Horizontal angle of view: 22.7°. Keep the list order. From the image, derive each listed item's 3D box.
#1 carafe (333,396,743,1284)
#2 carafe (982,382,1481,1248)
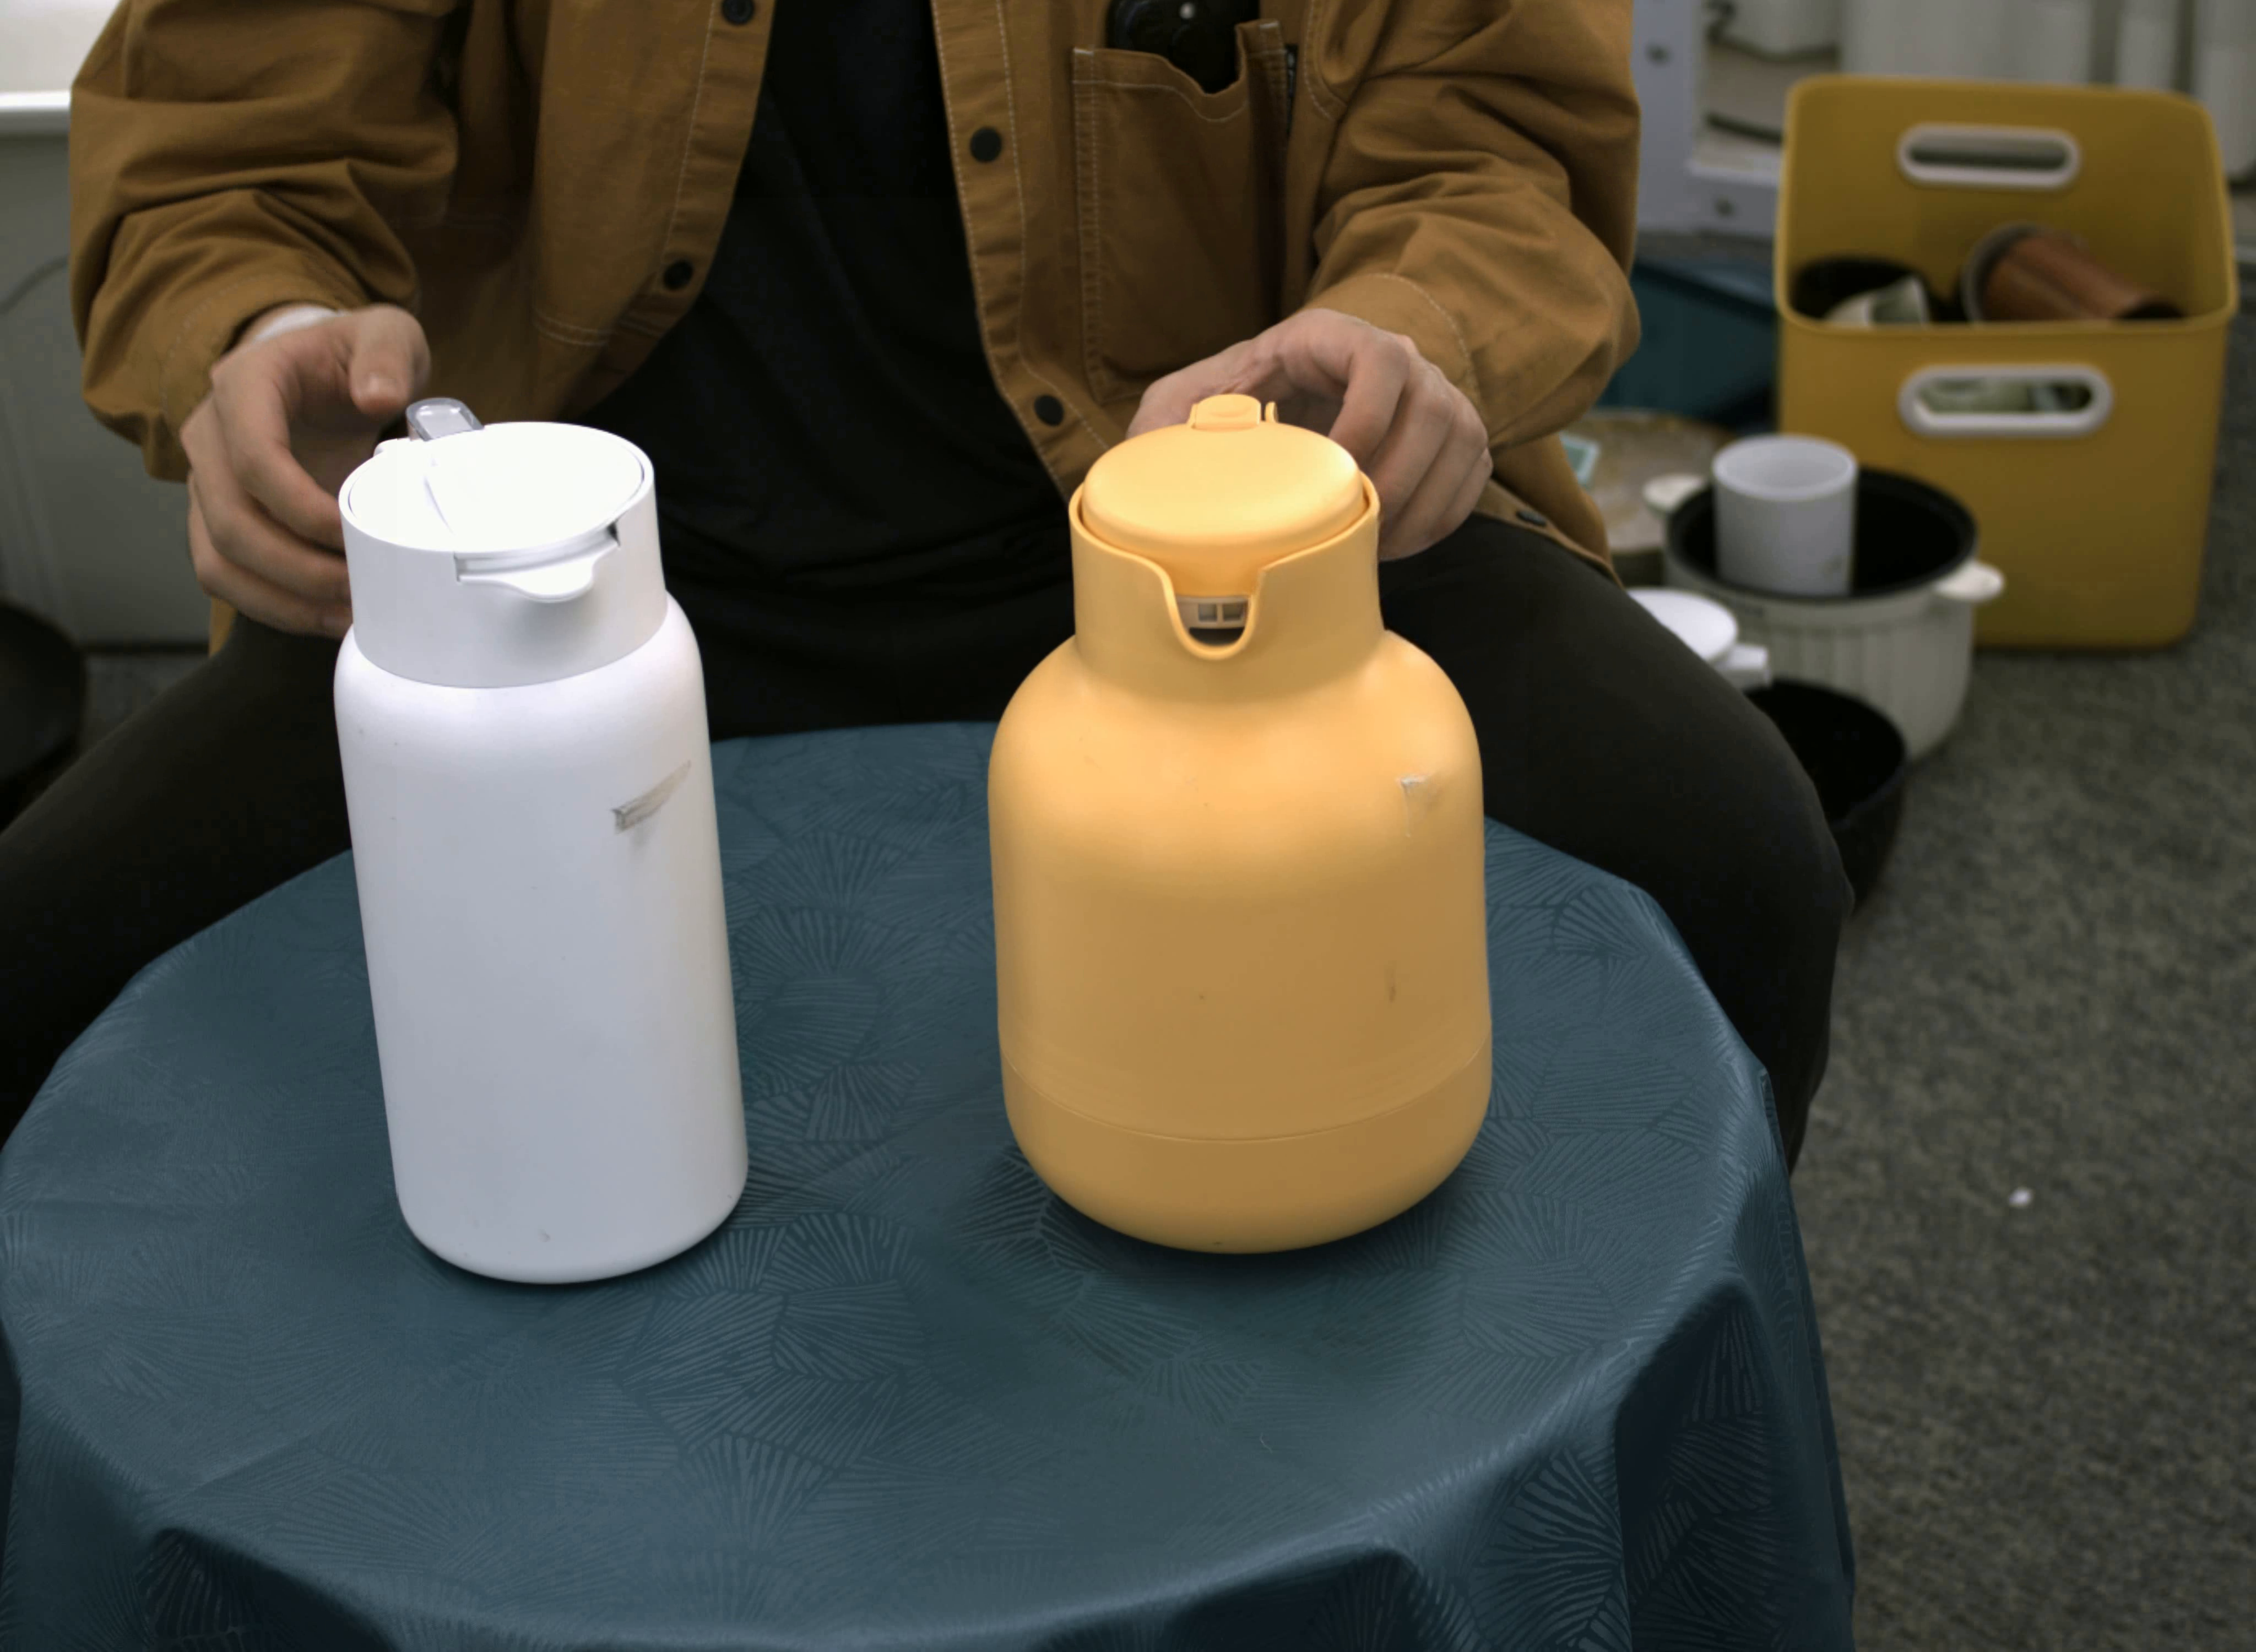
[{"bbox_3d":[-0.199,0.001,1.824,0.124,0.266,0.174,-15,28,-19],"label":"carafe"},{"bbox_3d":[0.036,-0.013,1.833,0.162,0.257,0.206,3,28,5],"label":"carafe"}]
